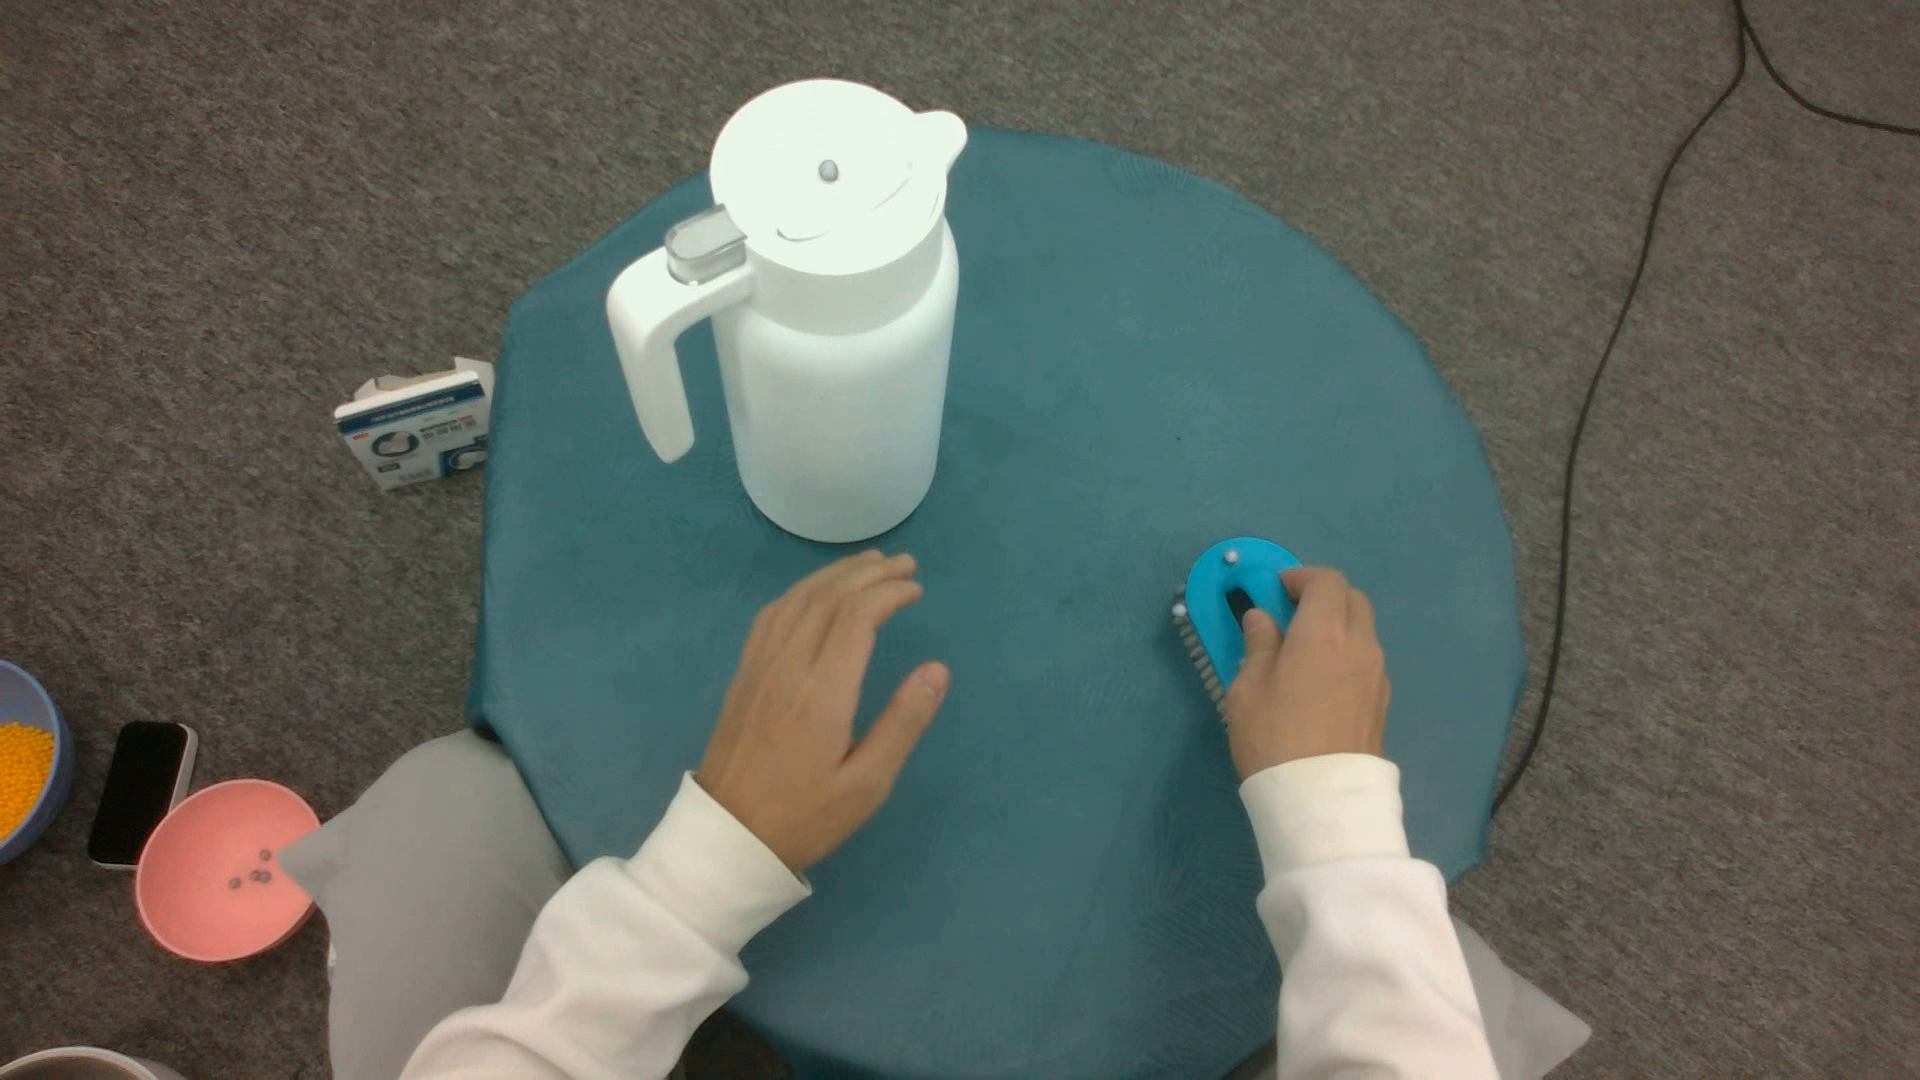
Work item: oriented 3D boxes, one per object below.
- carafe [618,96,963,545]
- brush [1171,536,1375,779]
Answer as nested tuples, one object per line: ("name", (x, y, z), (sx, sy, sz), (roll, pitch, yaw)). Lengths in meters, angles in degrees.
("carafe", (-0.076, -0.089, 0.701), (0.173, 0.268, 0.124), (-33, 75, -16))
("brush", (0.178, 0.058, 0.762), (0.084, 0.063, 0.142), (-18, 71, -14))
